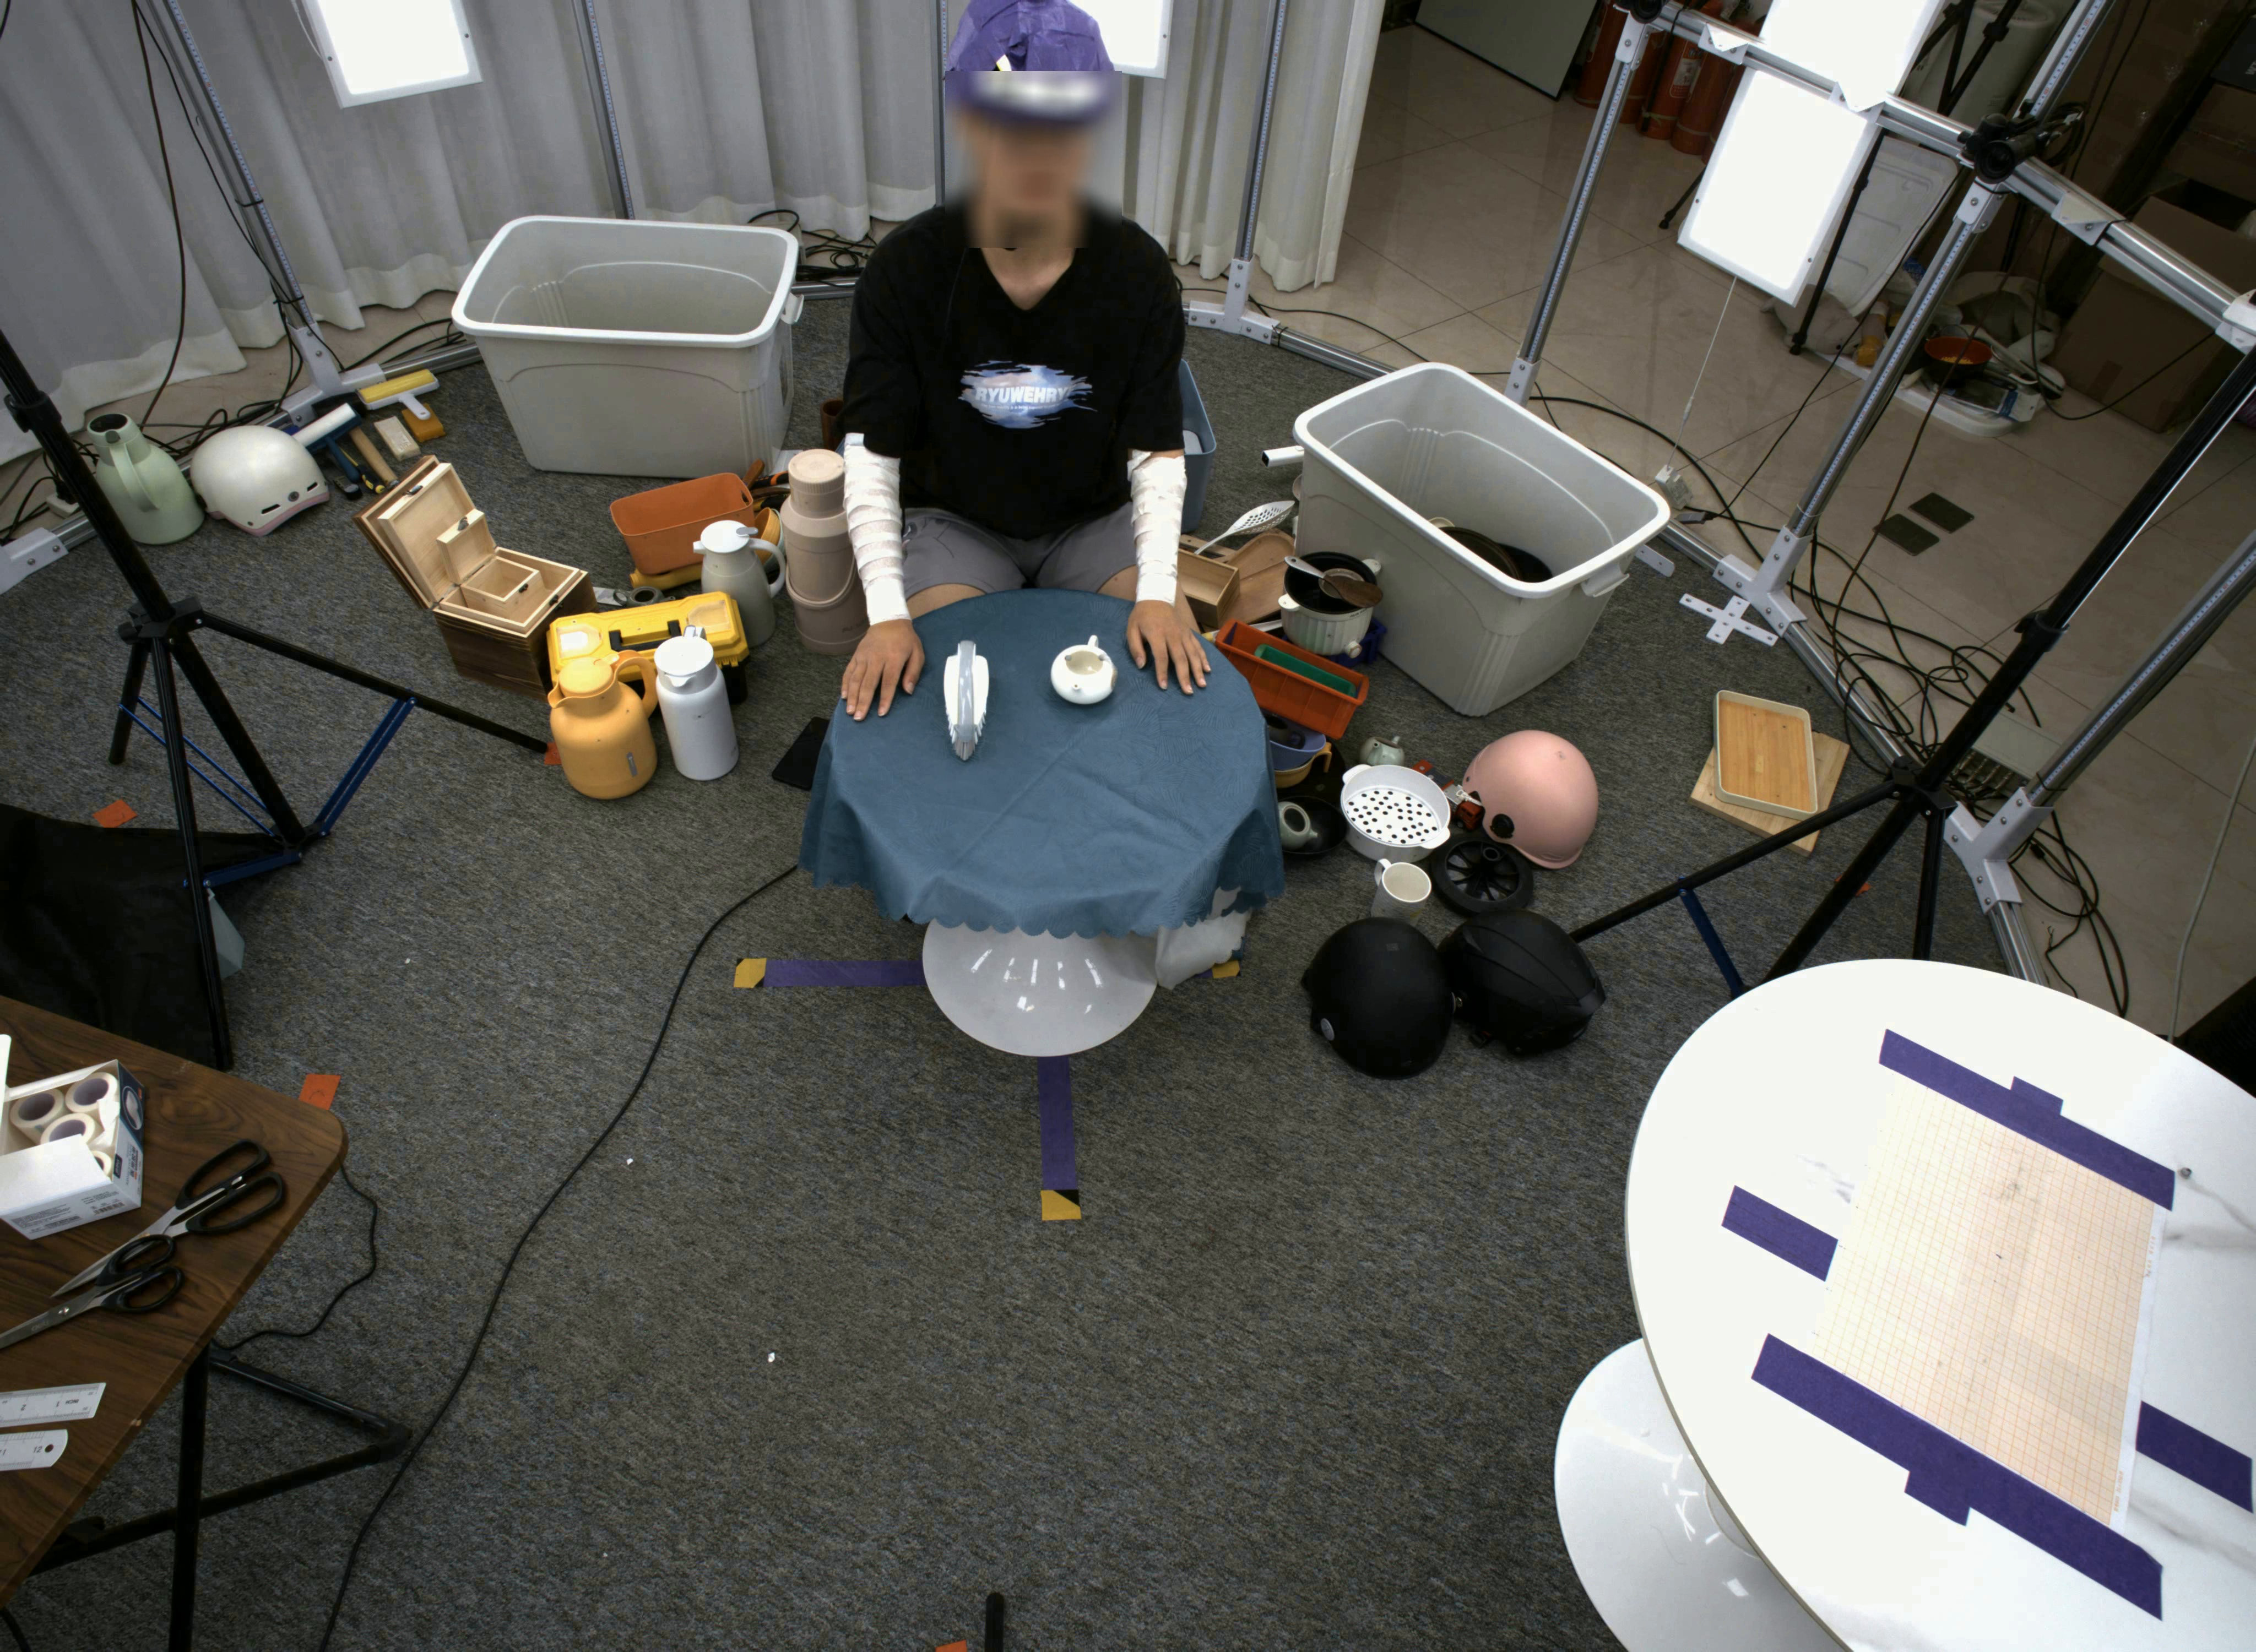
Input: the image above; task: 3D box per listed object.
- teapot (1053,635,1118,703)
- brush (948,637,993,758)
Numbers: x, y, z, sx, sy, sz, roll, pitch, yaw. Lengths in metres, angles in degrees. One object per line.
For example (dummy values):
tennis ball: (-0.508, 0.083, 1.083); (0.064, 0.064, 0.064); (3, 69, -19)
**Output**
teapot: (-0.058, -0.224, 1.827); (0.093, 0.055, 0.130); (8, 49, 8)
brush: (-0.217, -0.185, 1.761); (0.061, 0.092, 0.180); (-2, 51, -1)
